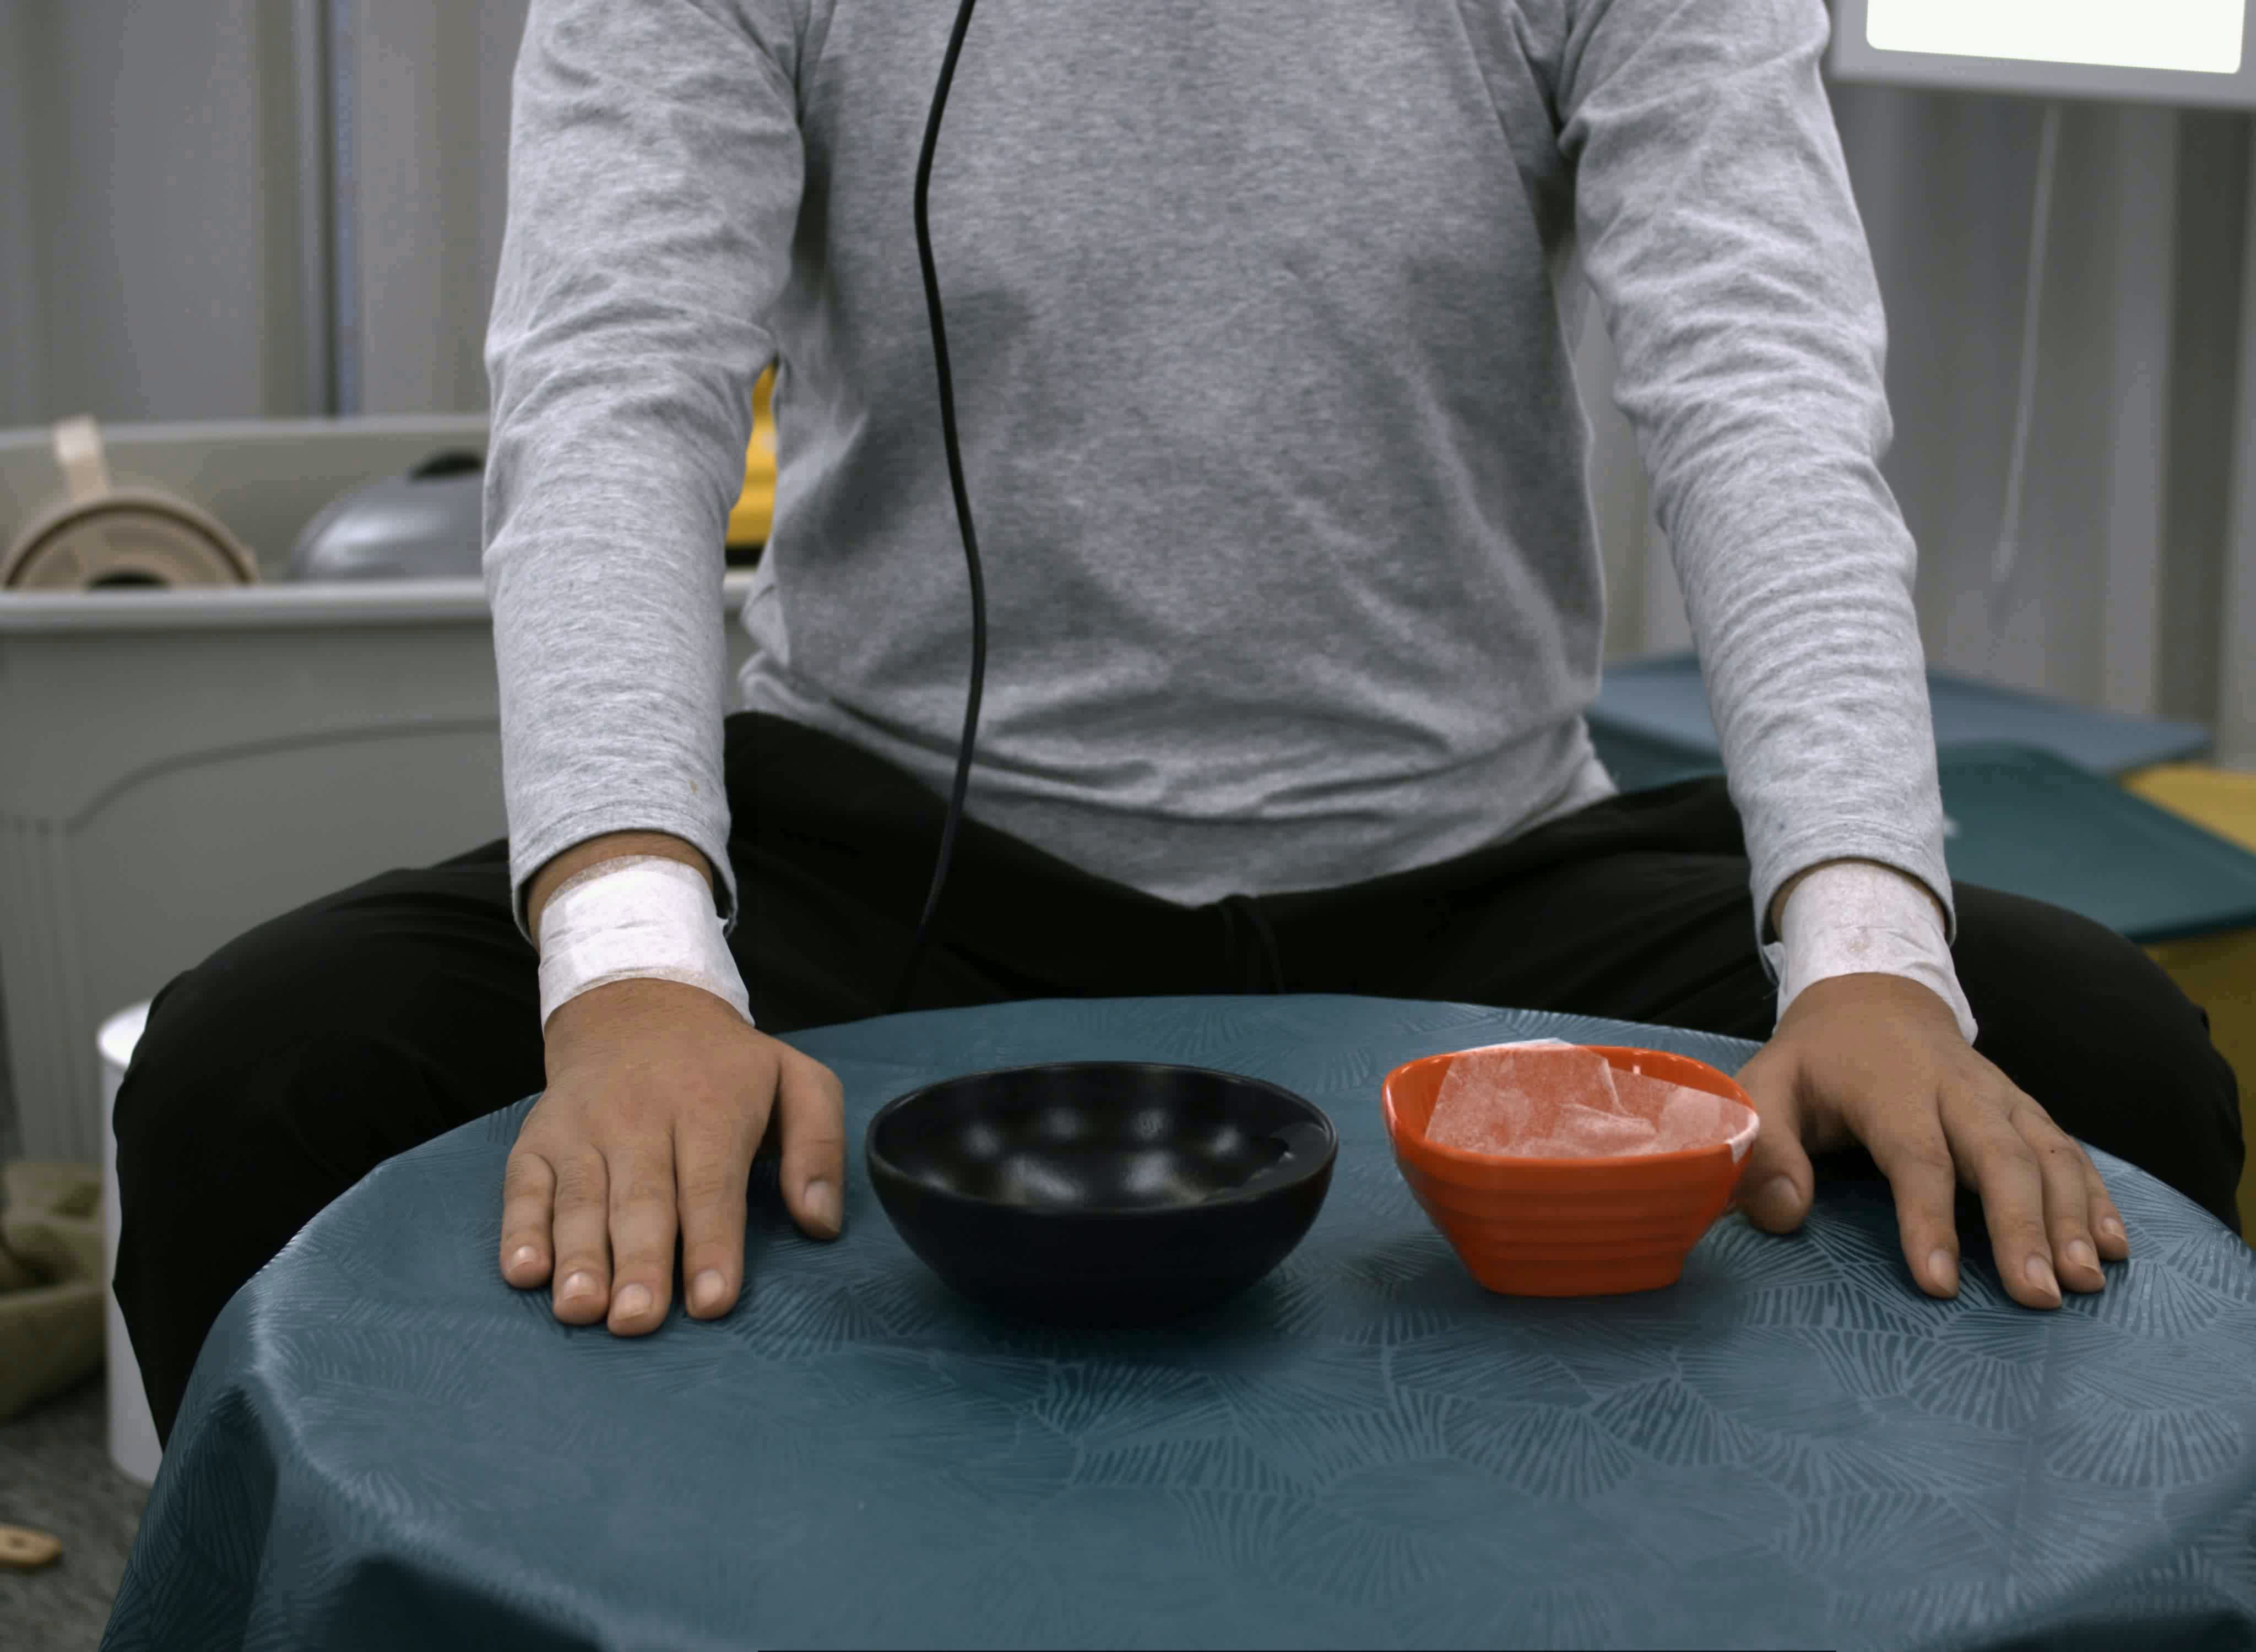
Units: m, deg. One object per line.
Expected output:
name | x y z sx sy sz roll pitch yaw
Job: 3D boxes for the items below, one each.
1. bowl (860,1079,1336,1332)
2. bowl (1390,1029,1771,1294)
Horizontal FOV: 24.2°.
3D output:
bowl | -0.009 0.114 1.535 0.139 0.050 0.139 2 12 0
bowl | 0.133 0.102 1.562 0.118 0.052 0.118 0 19 1
